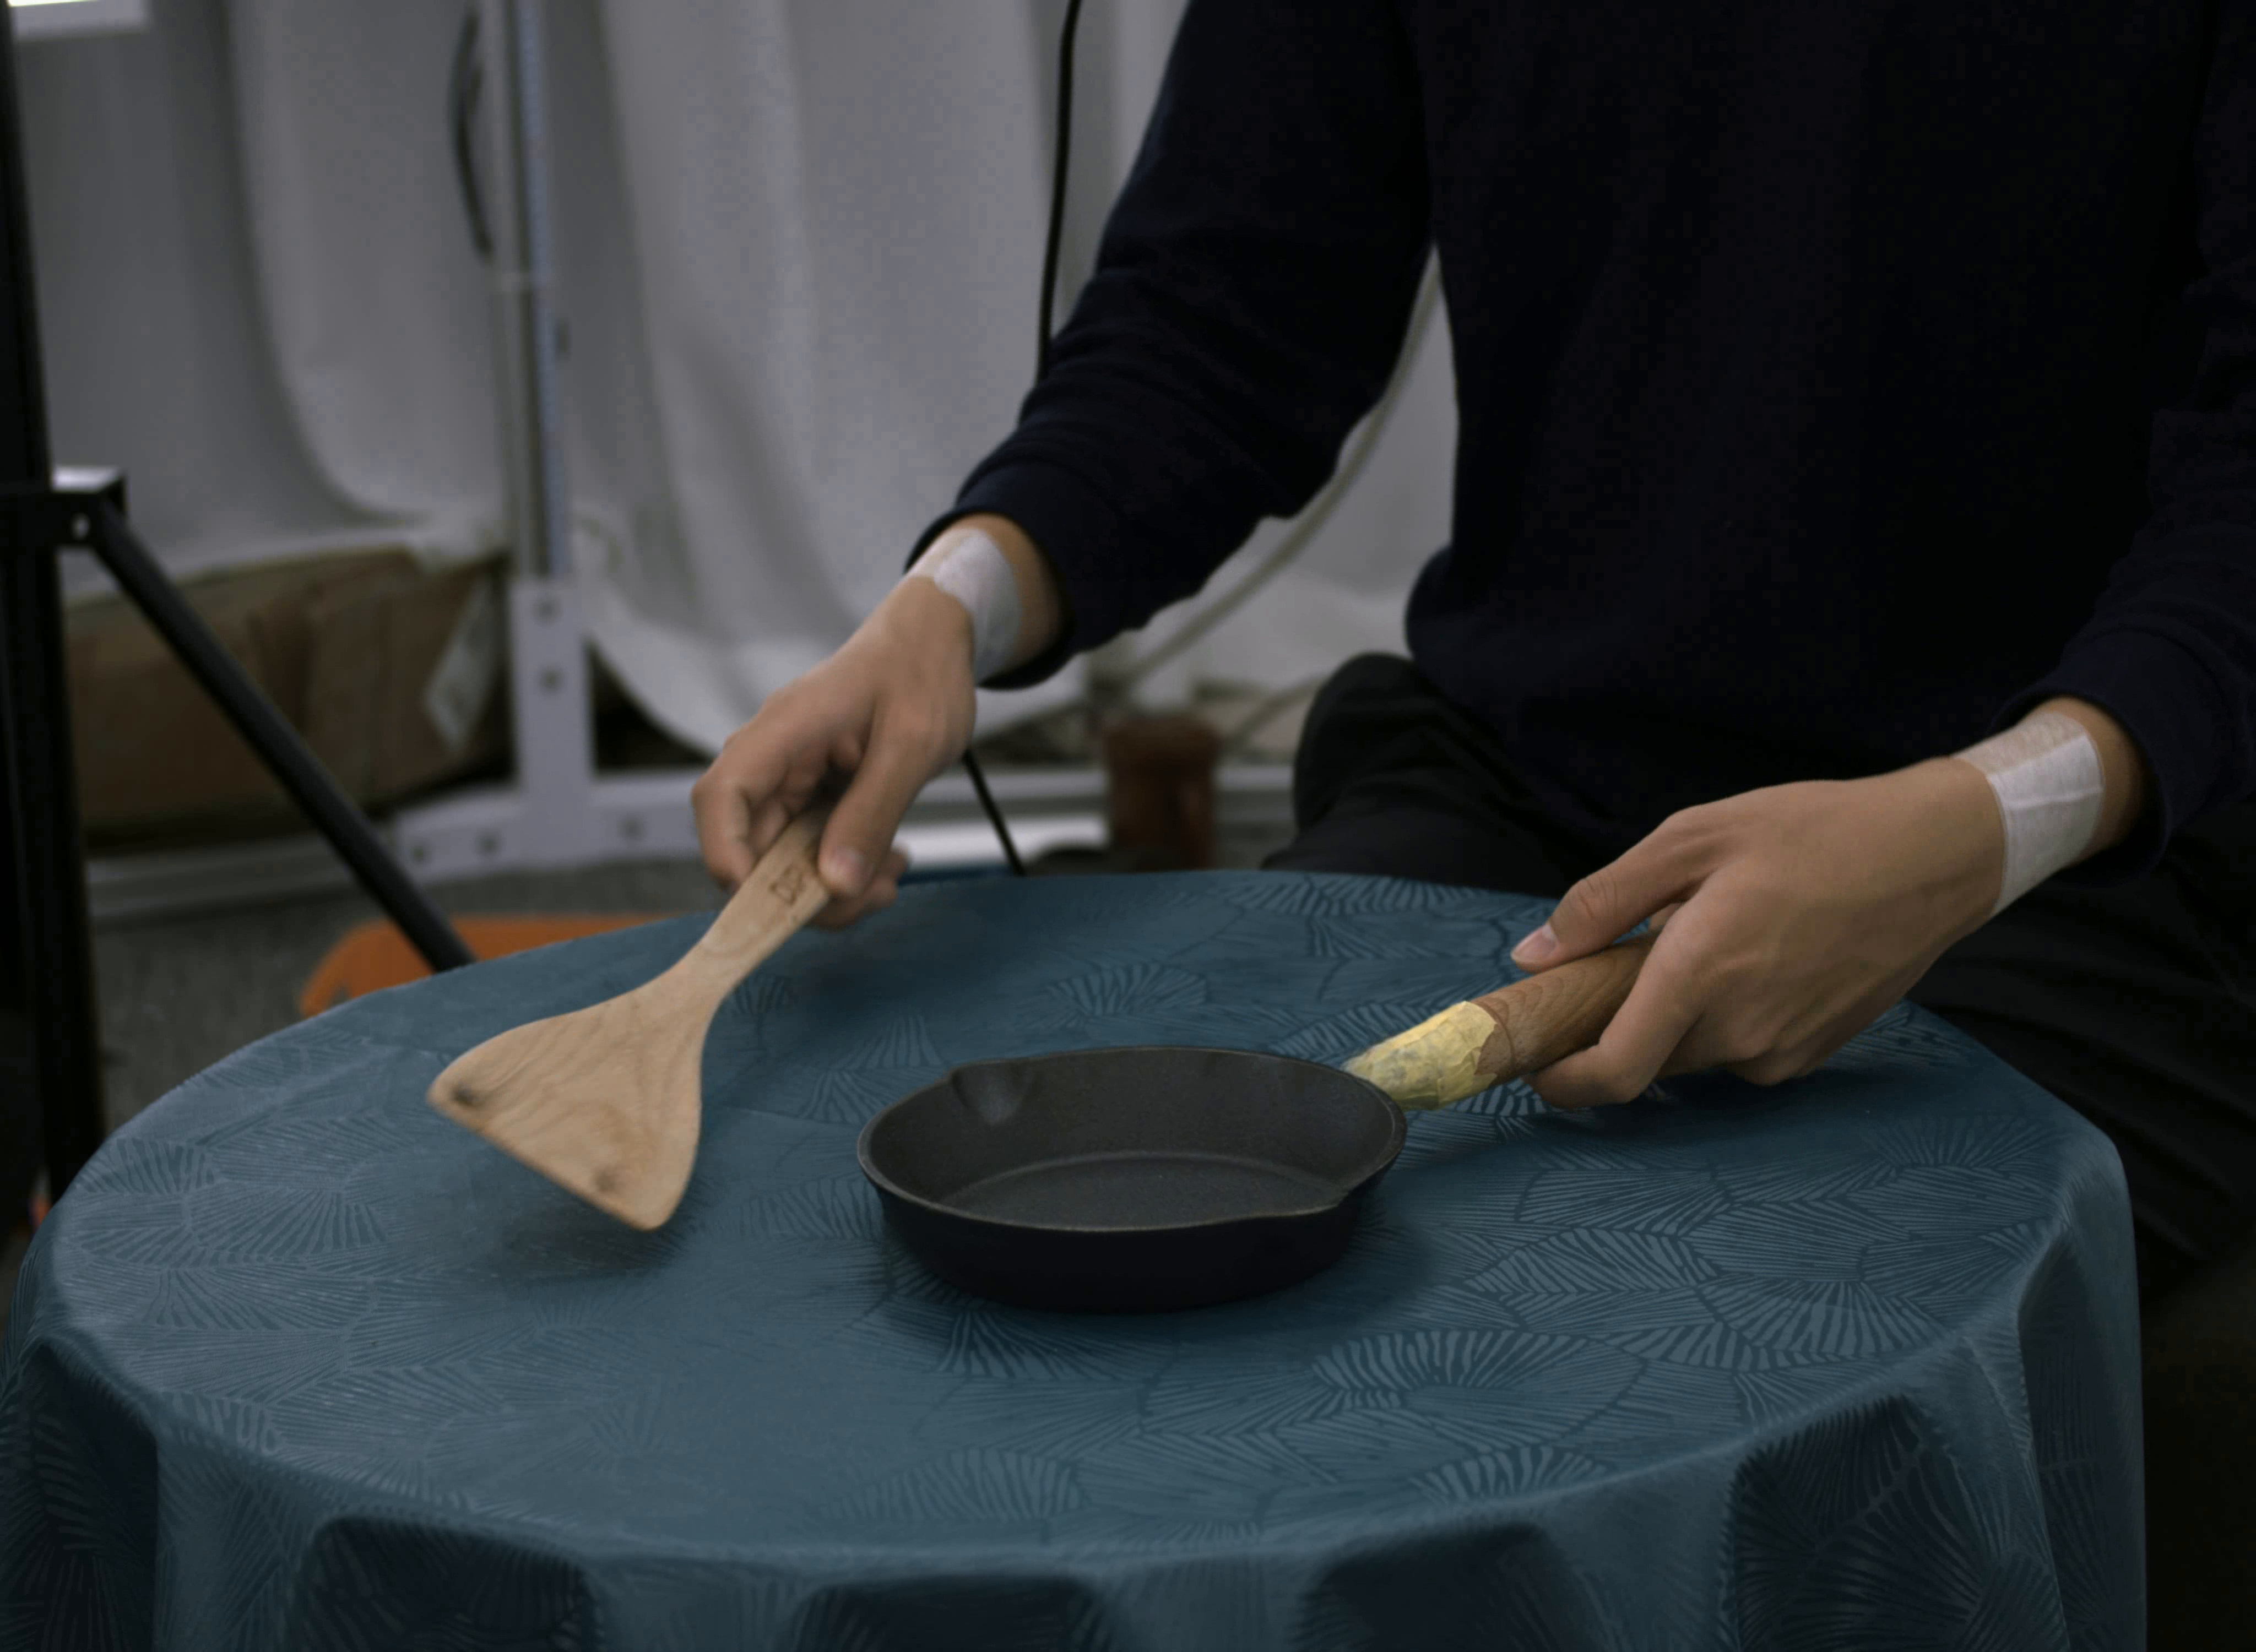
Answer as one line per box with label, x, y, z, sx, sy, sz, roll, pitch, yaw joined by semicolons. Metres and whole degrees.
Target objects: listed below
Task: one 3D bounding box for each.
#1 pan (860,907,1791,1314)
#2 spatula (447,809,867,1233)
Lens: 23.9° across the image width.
pan;0.072;0.079;1.555;0.317;0.049;0.172;-14;19;-30
spatula;-0.130;0.049;1.650;0.080;0.016;0.325;36;23;0
